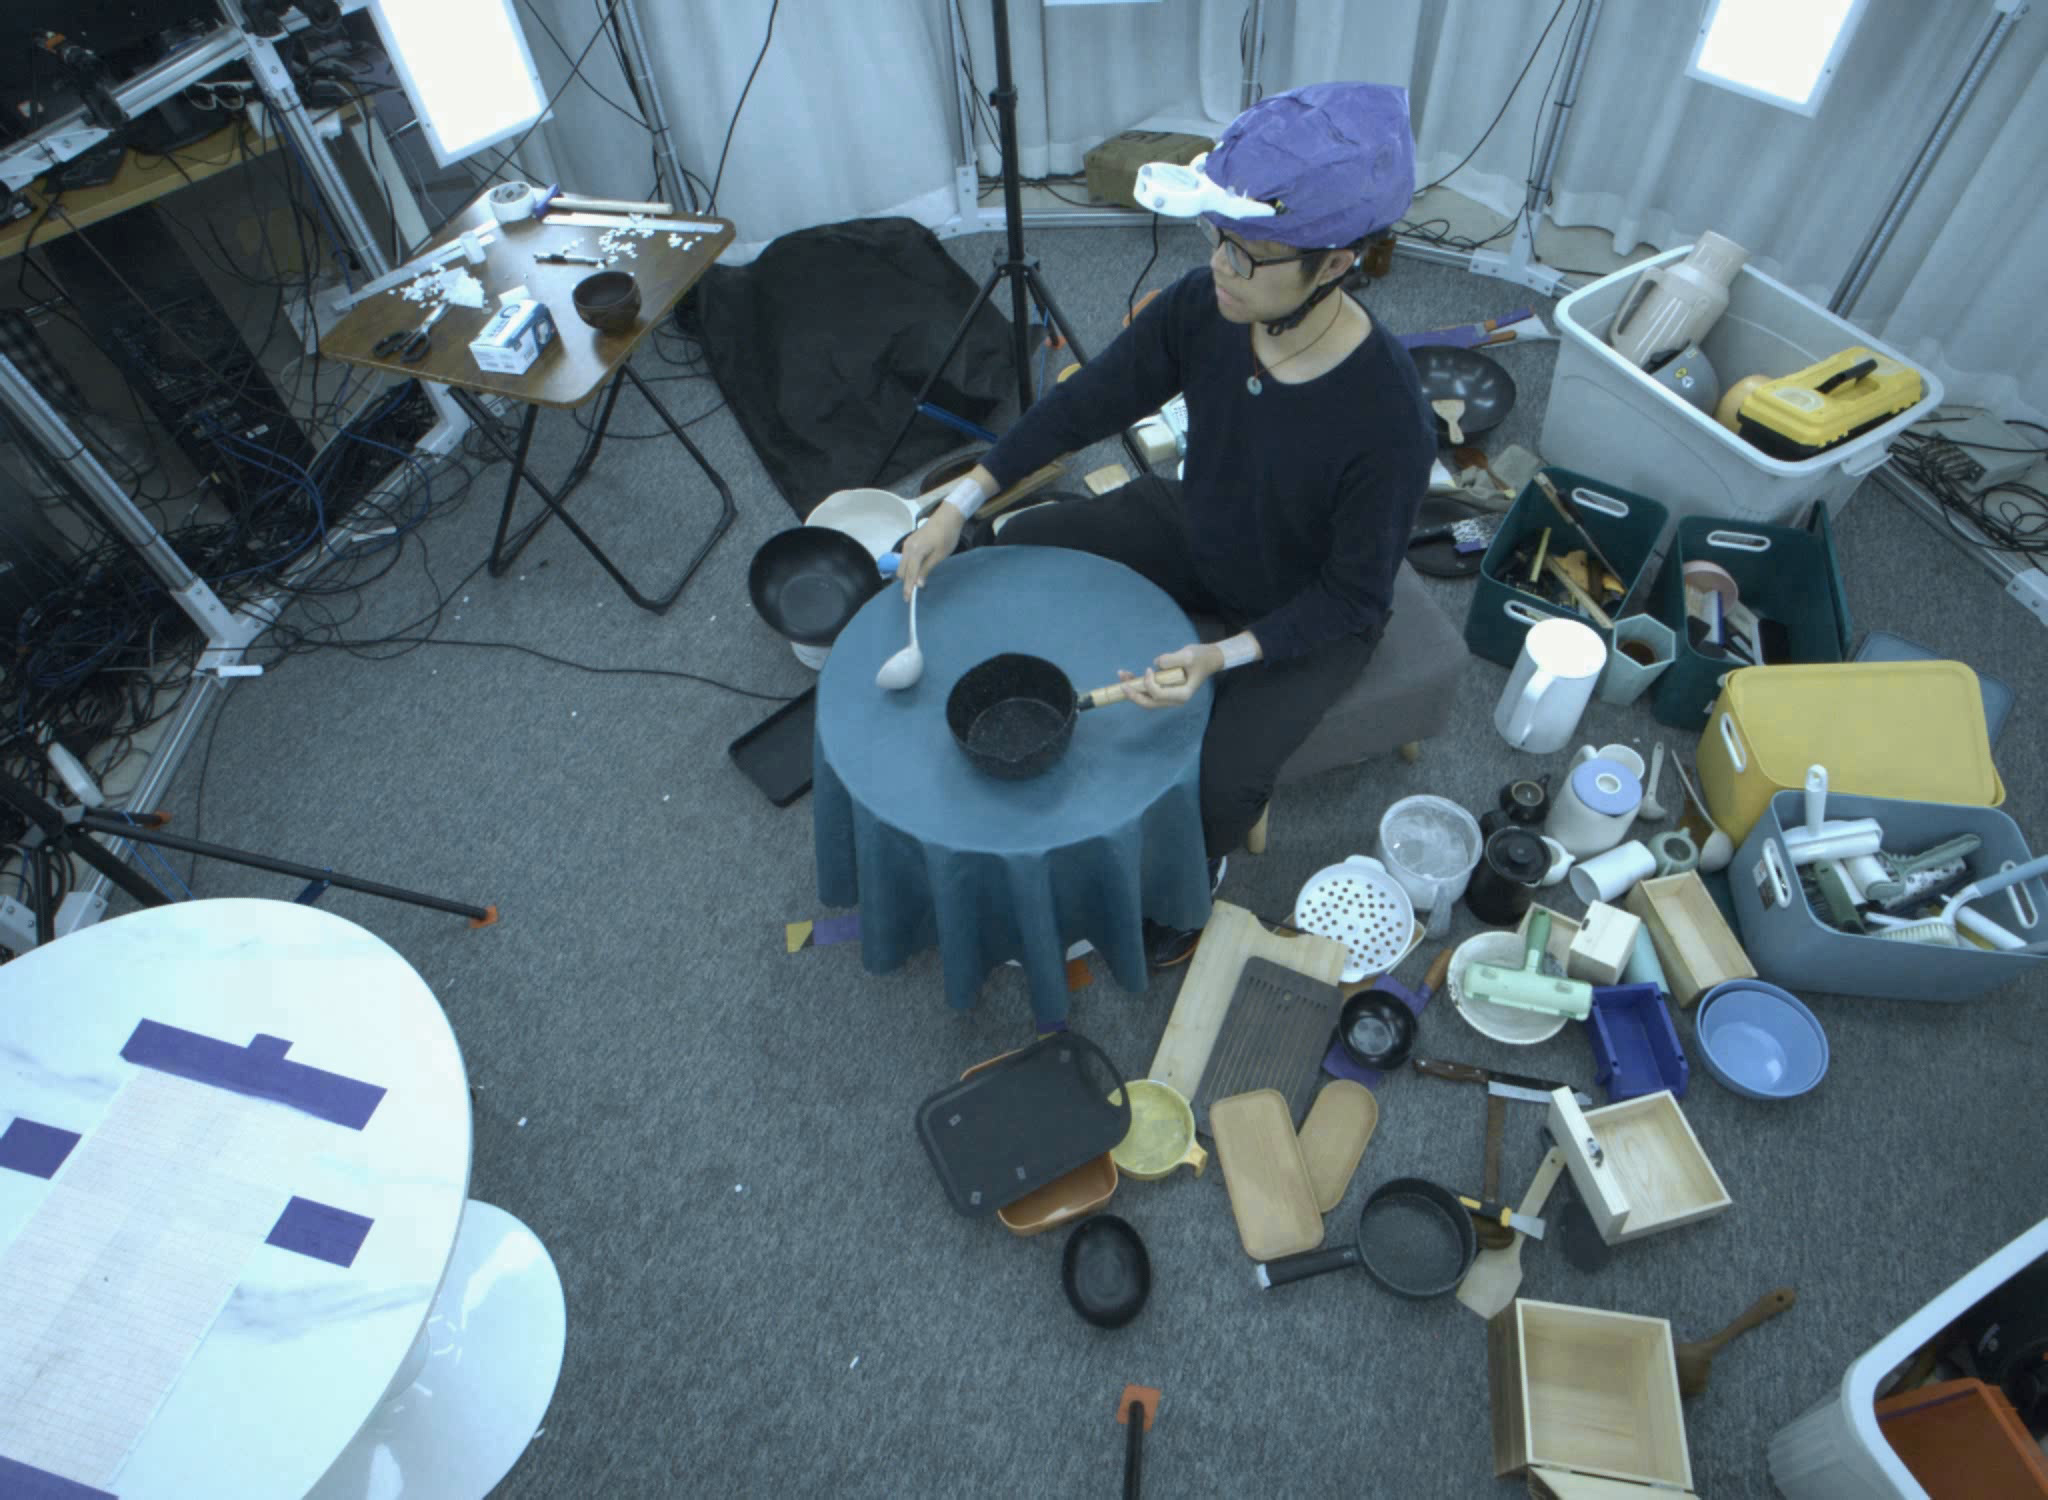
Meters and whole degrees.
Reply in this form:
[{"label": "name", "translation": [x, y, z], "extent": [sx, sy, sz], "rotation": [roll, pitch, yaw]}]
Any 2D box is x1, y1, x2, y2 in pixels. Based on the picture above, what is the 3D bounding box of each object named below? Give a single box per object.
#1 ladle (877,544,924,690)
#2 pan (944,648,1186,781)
[{"label": "ladle", "translation": [-0.190, -0.215, 1.884], "extent": [0.070, 0.089, 0.272], "rotation": [3, 58, -11]}, {"label": "pan", "translation": [0.062, -0.059, 1.747], "extent": [0.342, 0.110, 0.205], "rotation": [-9, 53, 3]}]
